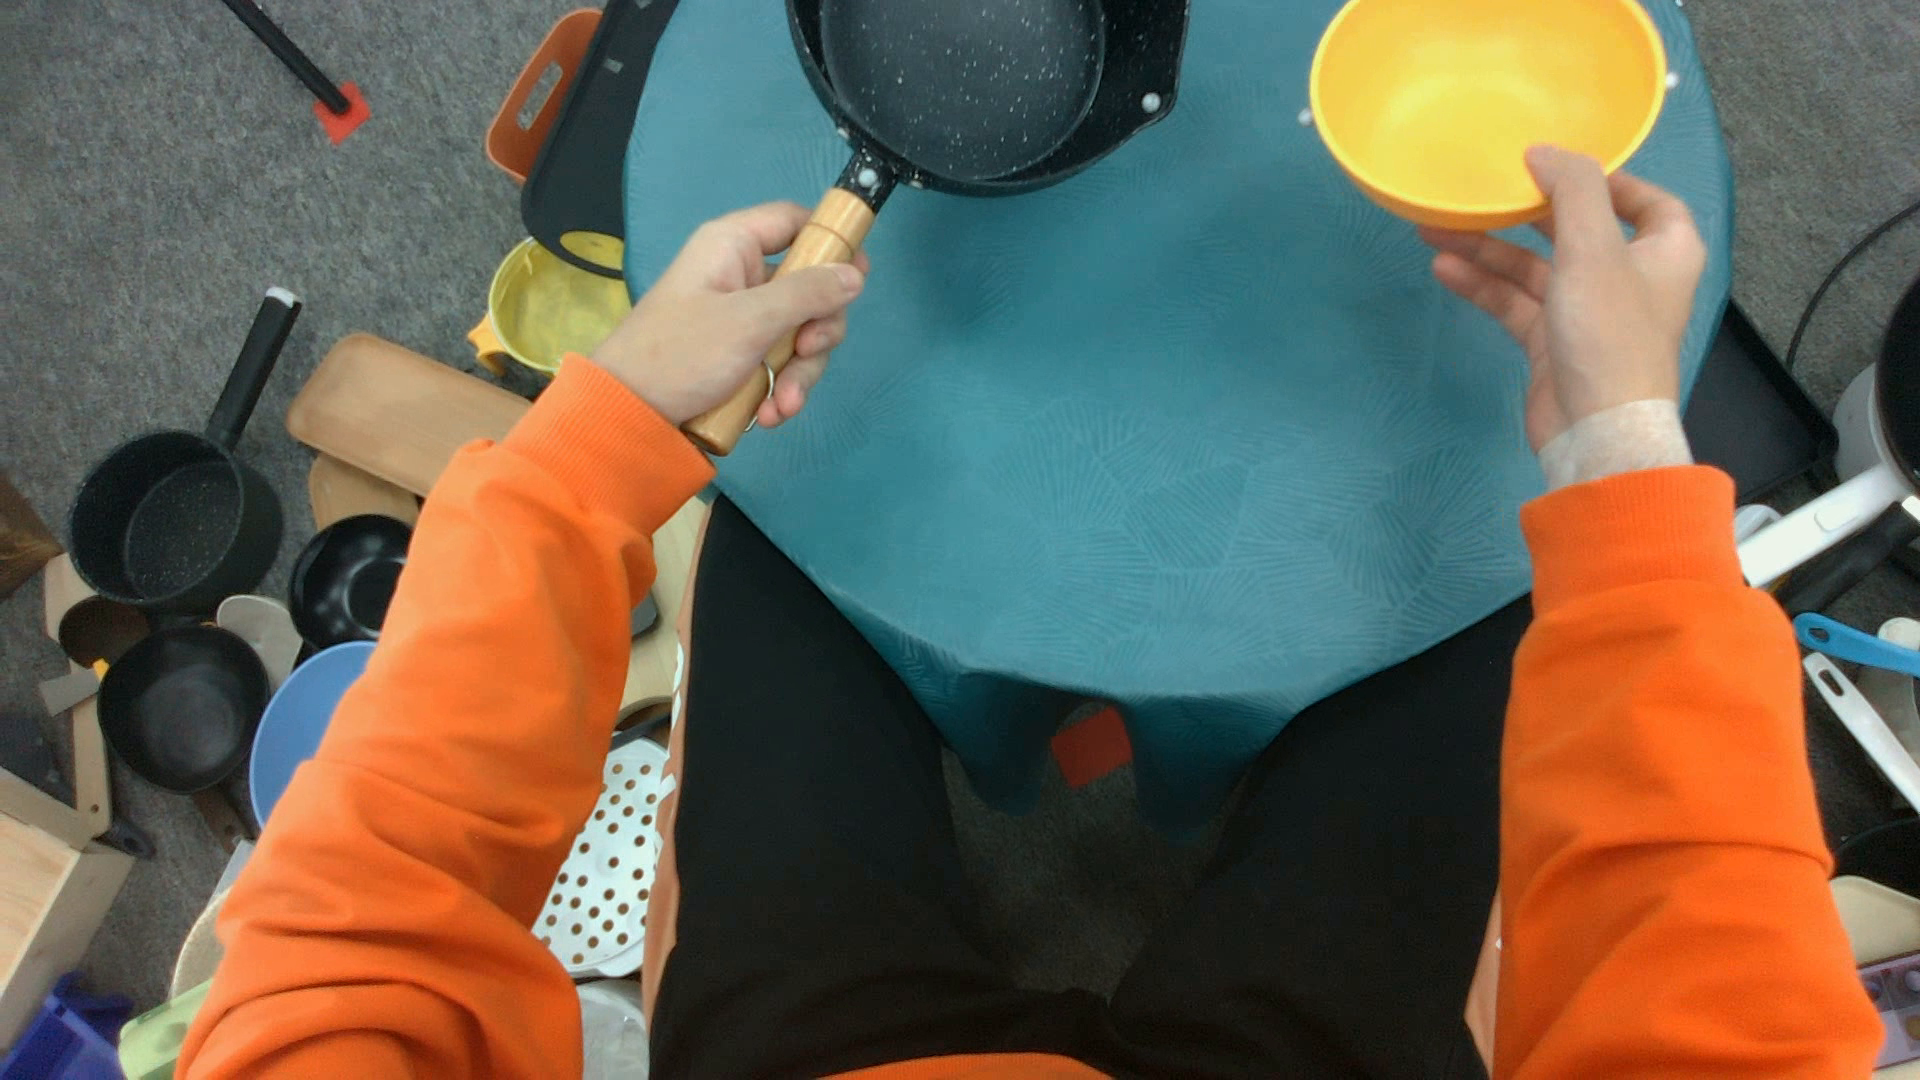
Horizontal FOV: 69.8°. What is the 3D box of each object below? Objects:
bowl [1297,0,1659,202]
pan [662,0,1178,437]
[{"bbox_3d":[0.225,-0.203,0.610,0.145,0.060,0.146,-6,68,15],"label":"bowl"},{"bbox_3d":[-0.036,-0.193,0.634,0.207,0.108,0.343,31,85,-12],"label":"pan"}]
